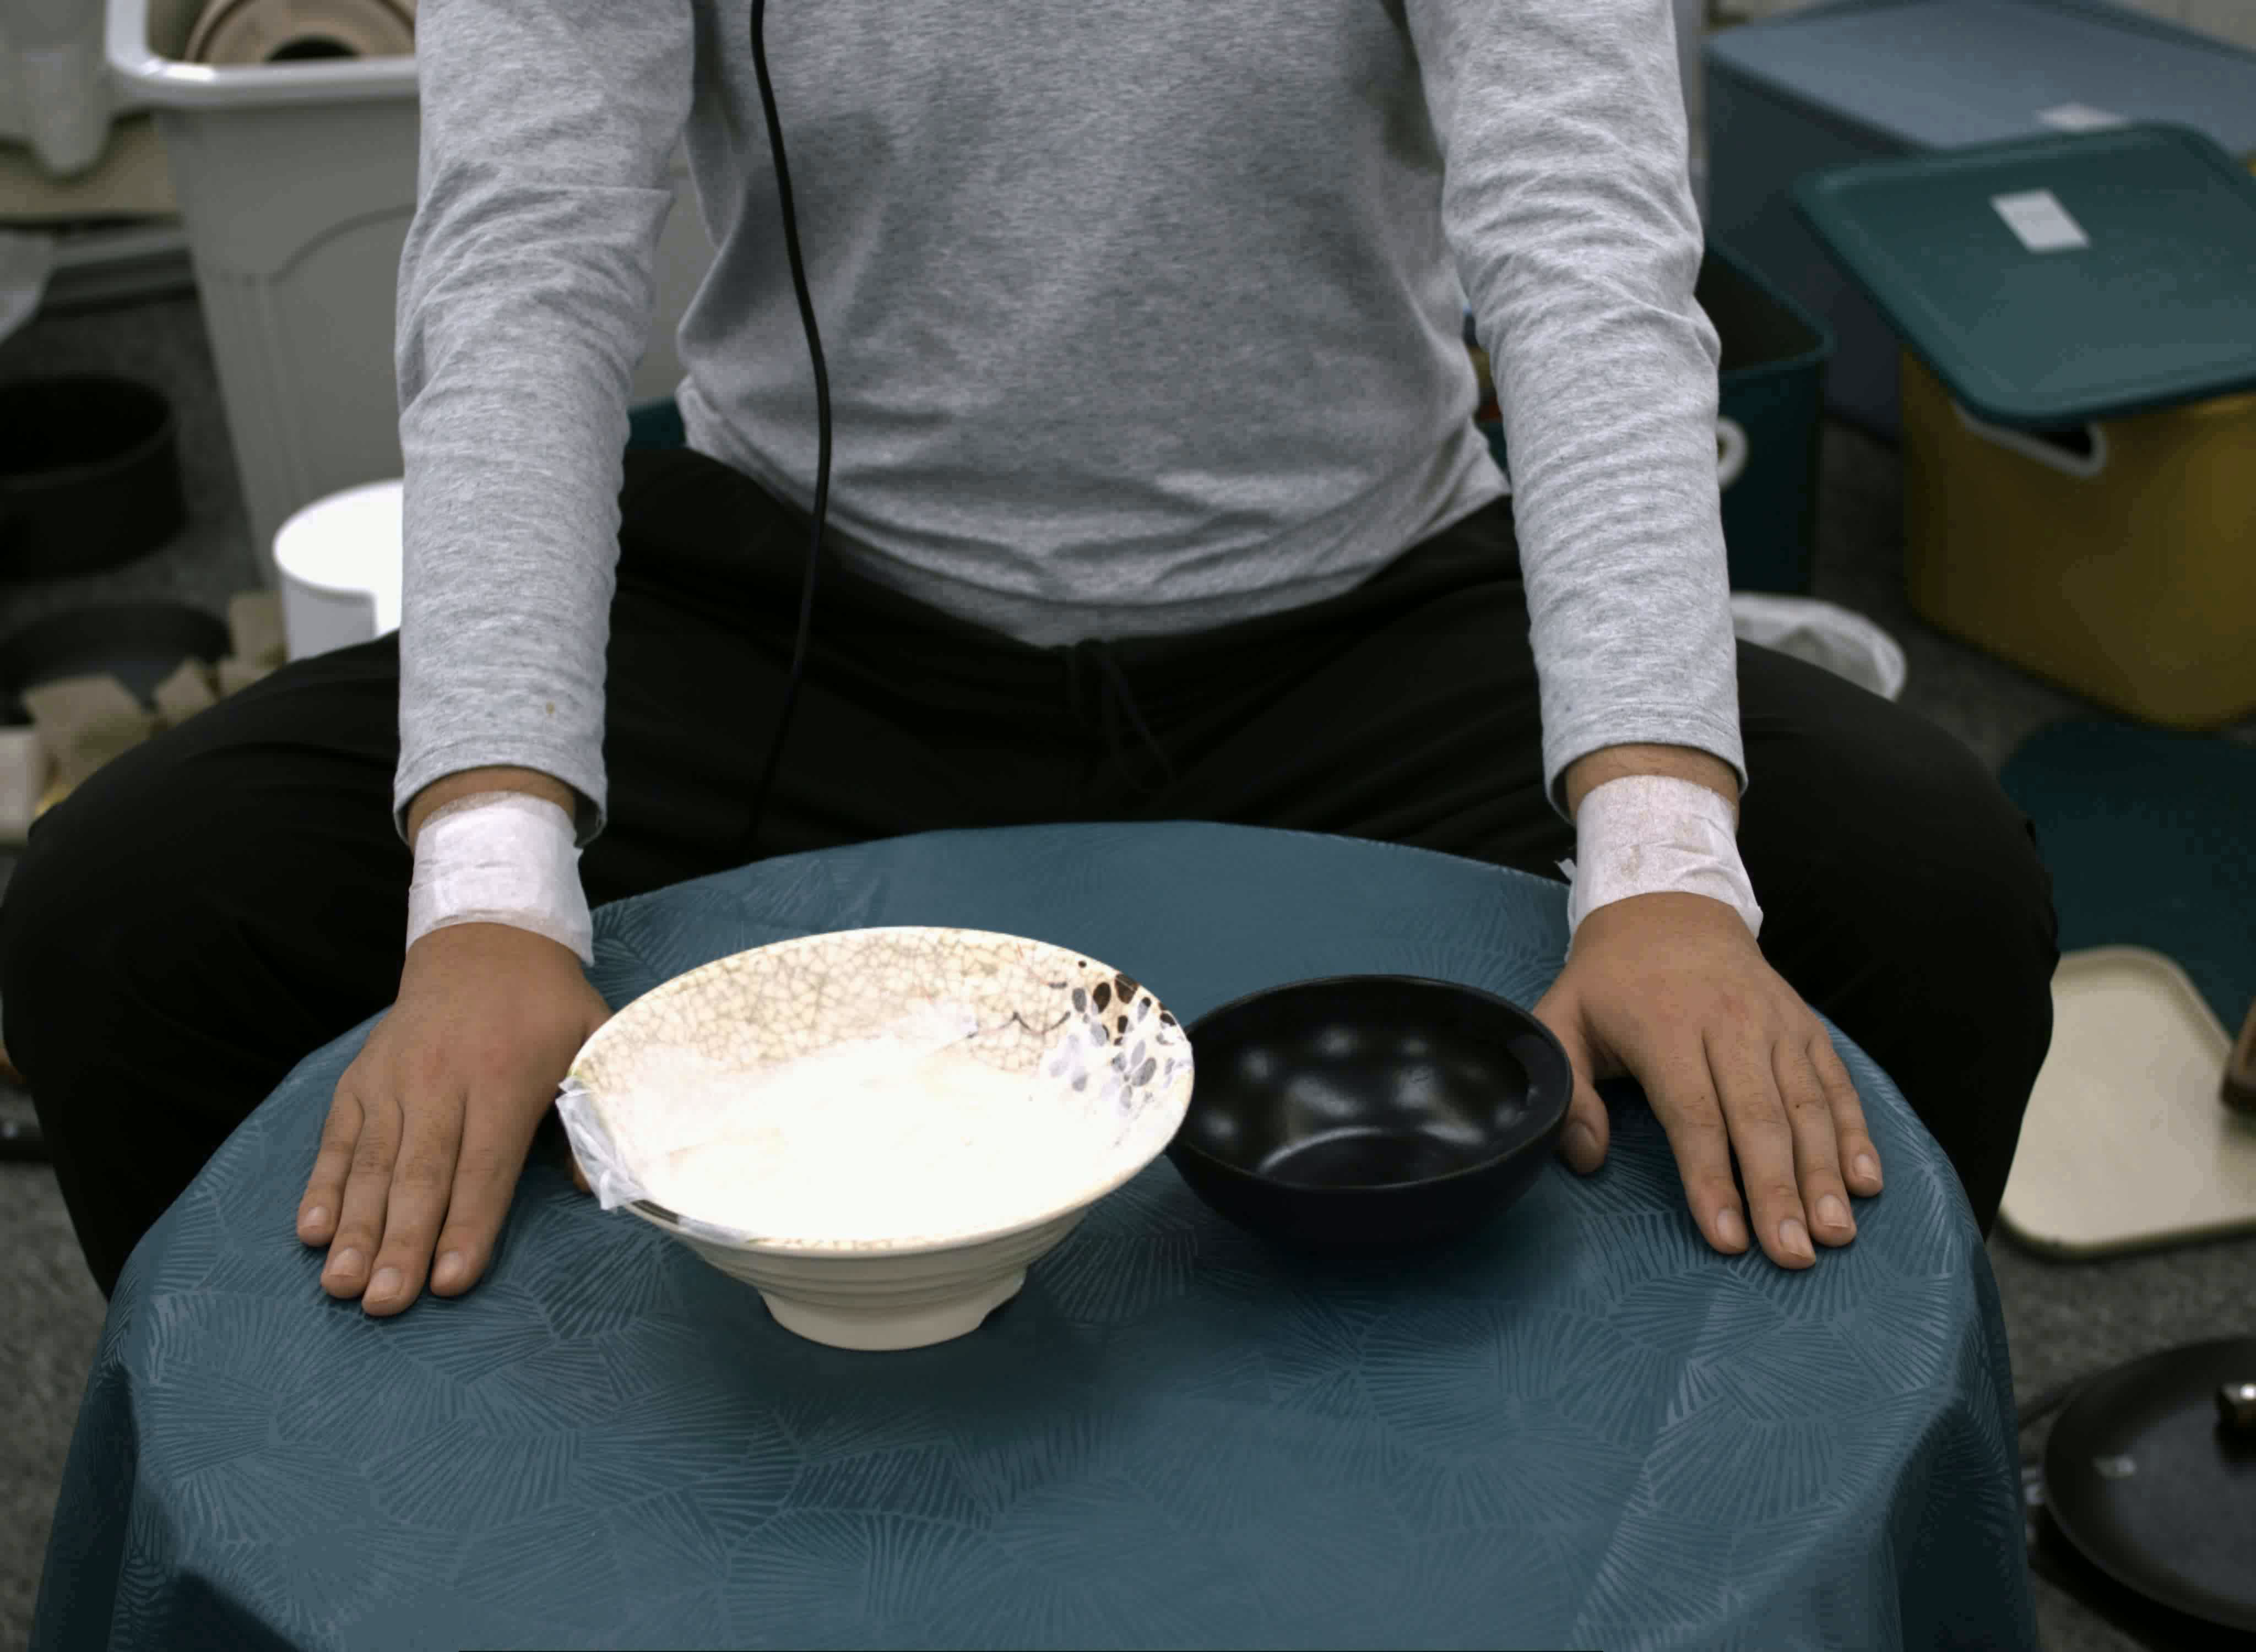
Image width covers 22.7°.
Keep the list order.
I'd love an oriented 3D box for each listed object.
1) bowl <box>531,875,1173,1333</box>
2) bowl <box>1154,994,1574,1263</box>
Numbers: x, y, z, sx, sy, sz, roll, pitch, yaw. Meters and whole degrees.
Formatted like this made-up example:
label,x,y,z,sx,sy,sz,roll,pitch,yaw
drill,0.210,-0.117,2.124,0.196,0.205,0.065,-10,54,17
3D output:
label,x,y,z,sx,sy,sz,roll,pitch,yaw
bowl,-0.087,0.105,1.794,0.203,0.077,0.207,0,34,0
bowl,0.076,0.106,1.839,0.139,0.049,0.142,0,22,1
